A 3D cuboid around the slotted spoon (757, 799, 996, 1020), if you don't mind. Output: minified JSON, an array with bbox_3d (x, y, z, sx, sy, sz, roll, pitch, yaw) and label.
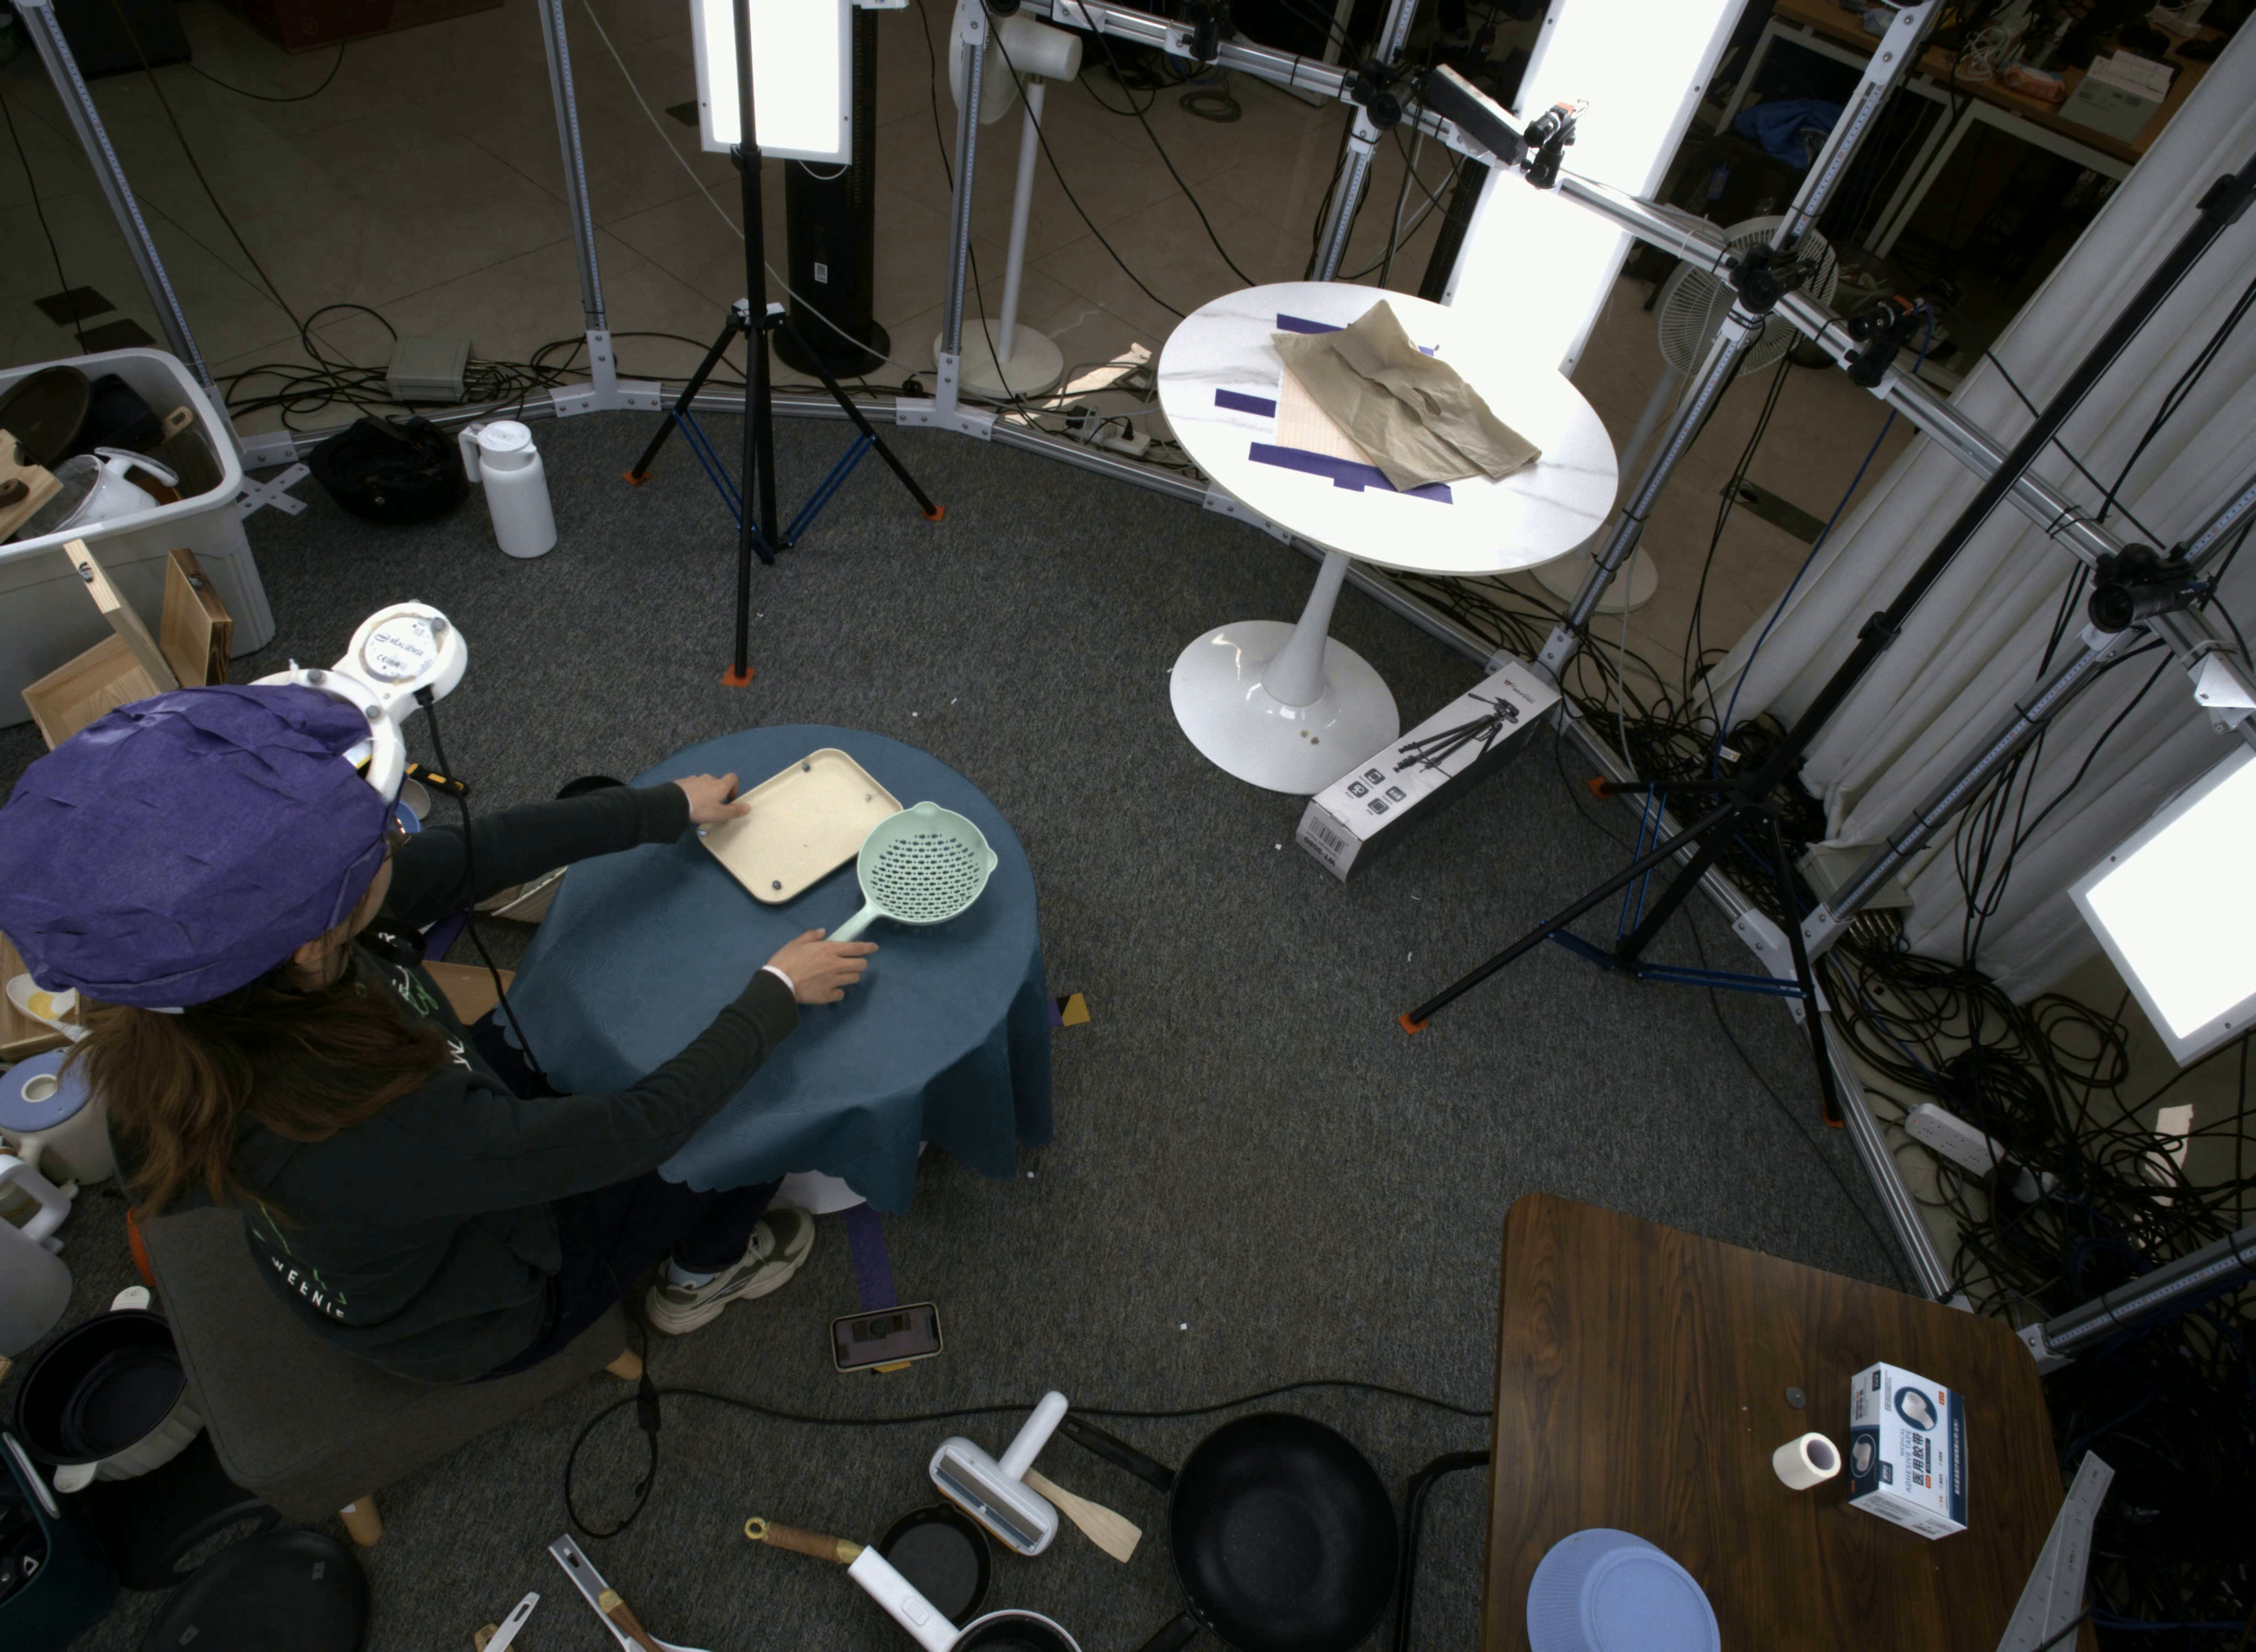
[{"bbox_3d":[-0.325,0.111,1.631,0.165,0.077,0.359,38,55,16],"label":"slotted spoon"}]

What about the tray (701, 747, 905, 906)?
[{"bbox_3d":[-0.429,-0.003,1.720,0.167,0.018,0.240,41,56,17],"label":"tray"}]
